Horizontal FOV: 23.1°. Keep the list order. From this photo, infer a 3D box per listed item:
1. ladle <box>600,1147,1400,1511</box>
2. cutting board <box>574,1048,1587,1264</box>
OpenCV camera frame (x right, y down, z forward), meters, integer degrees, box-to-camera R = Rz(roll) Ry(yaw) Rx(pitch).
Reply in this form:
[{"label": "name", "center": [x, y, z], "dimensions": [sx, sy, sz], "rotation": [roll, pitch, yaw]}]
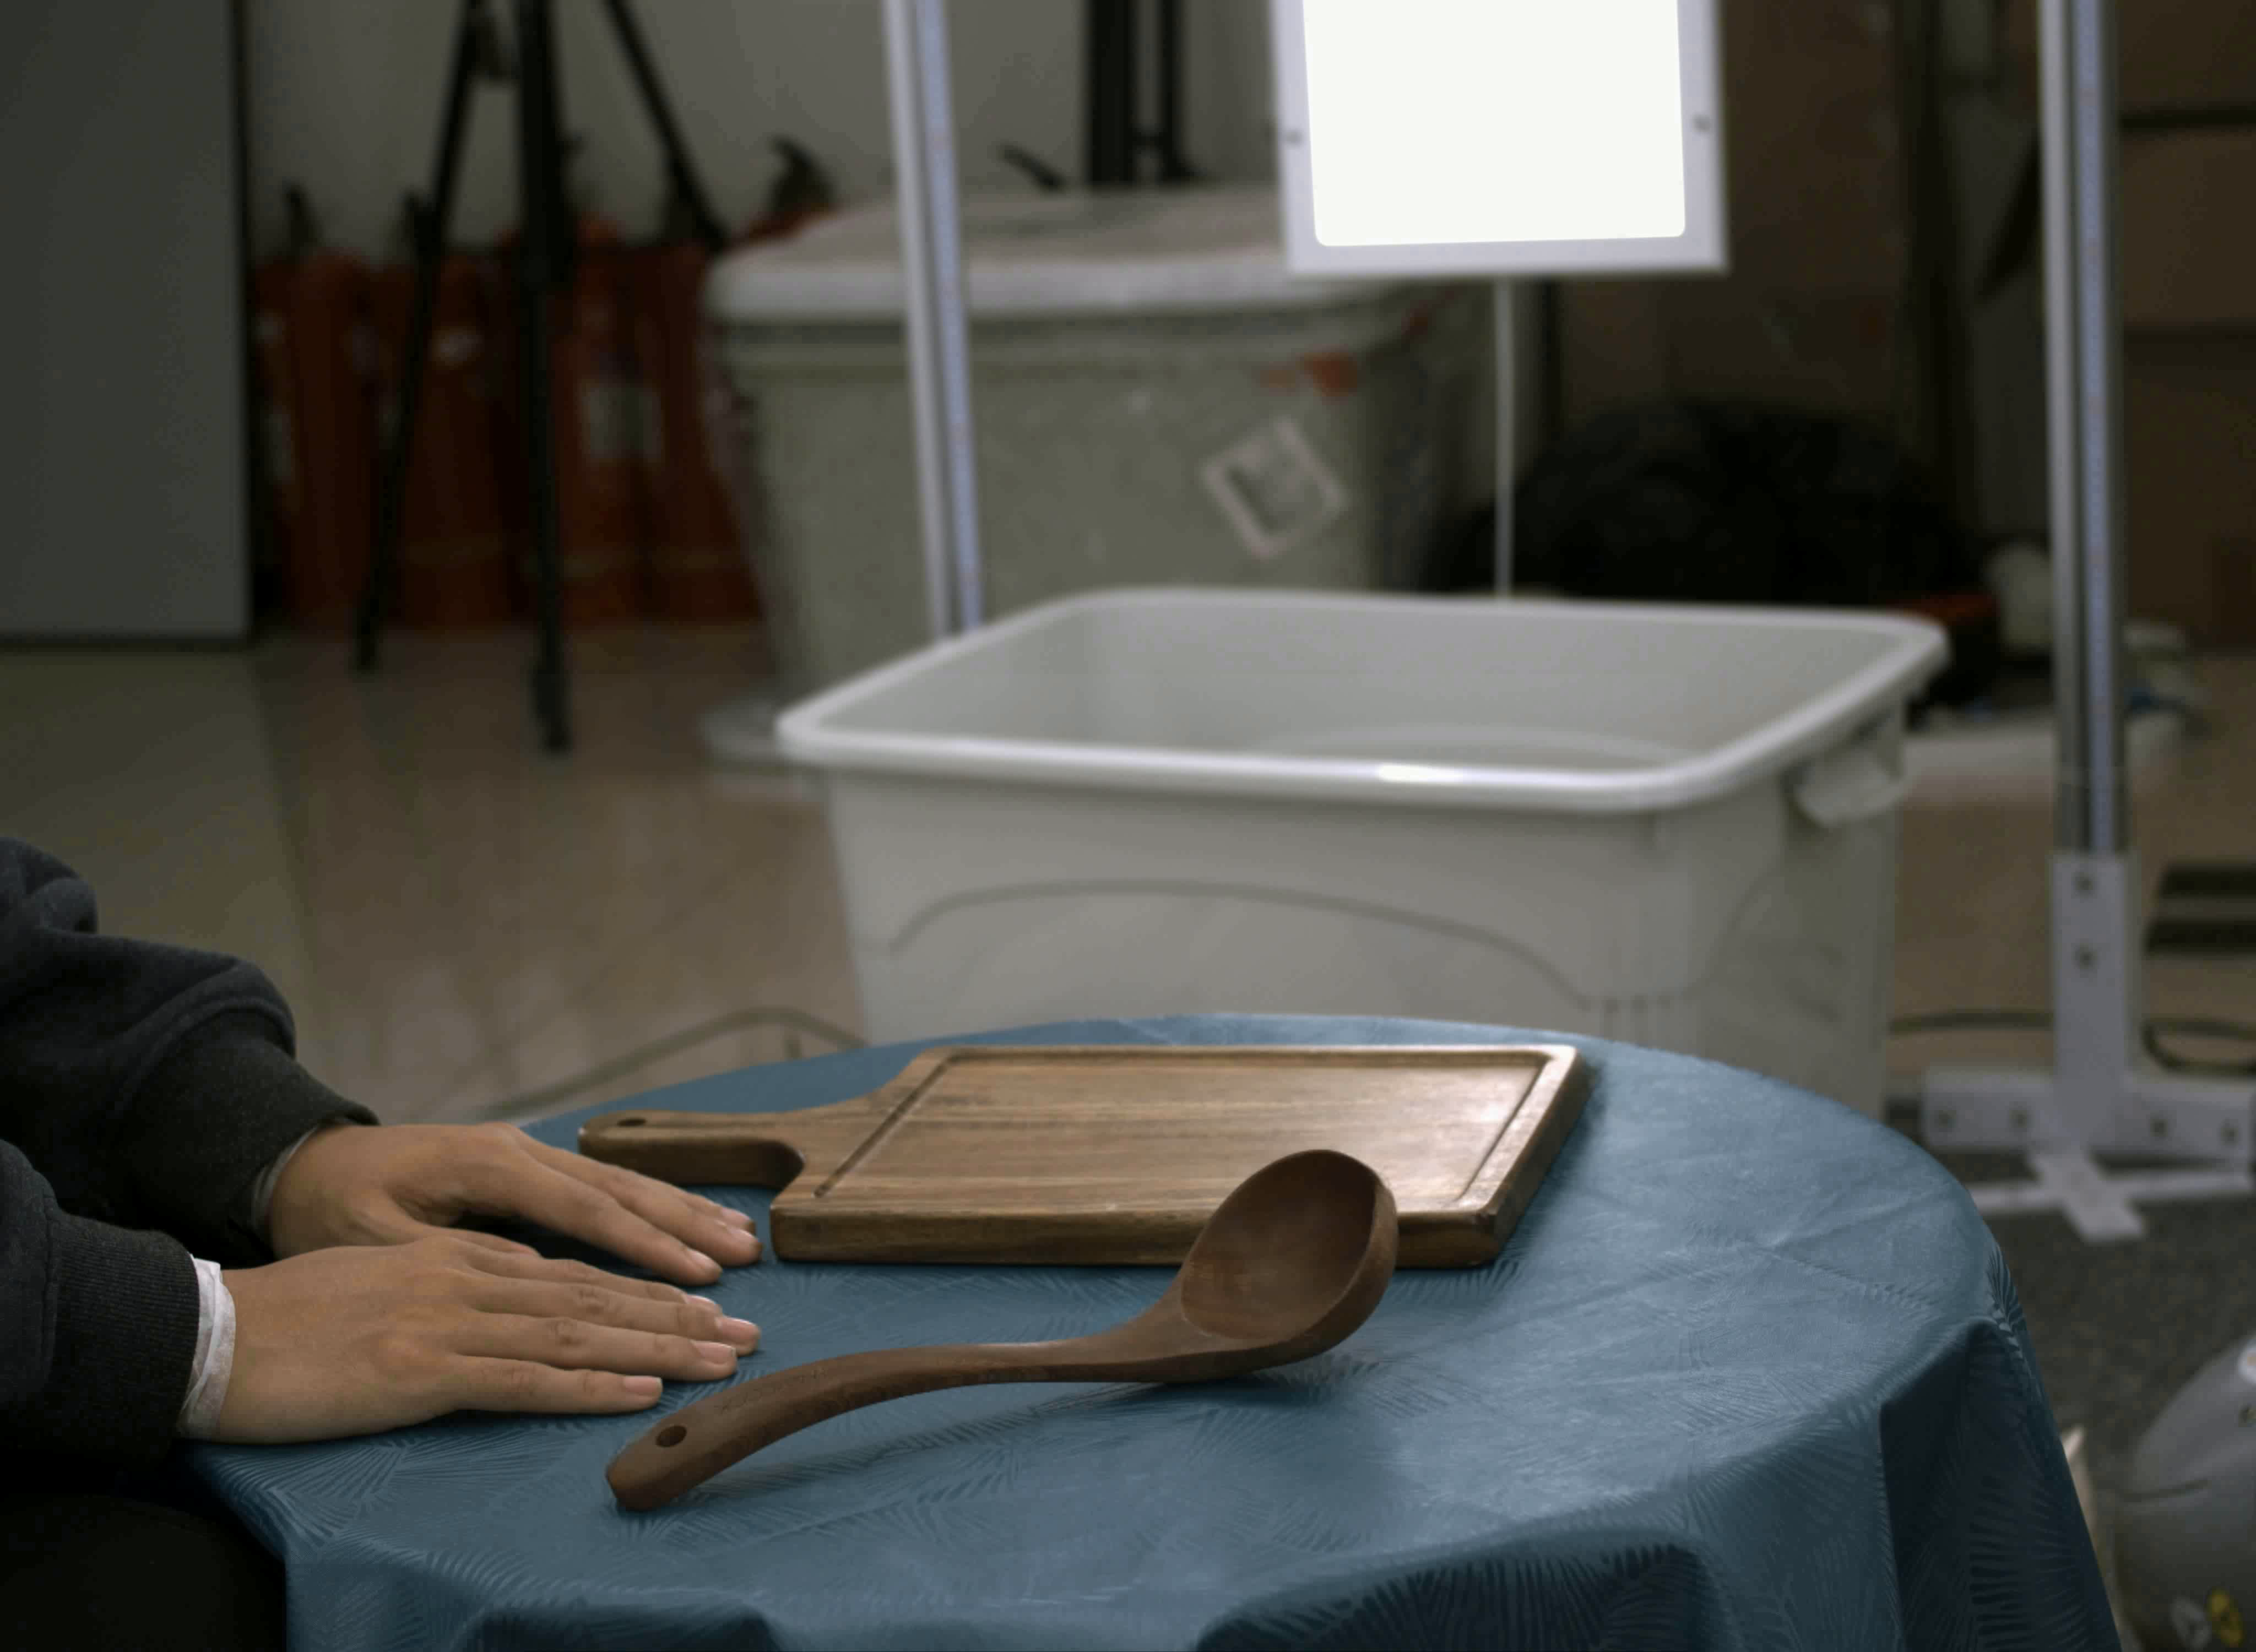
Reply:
[{"label": "ladle", "center": [-0.038, 0.152, 1.673], "dimensions": [0.255, 0.065, 0.077], "rotation": [-10, 22, -20]}, {"label": "cutting board", "center": [-0.025, 0.112, 1.918], "dimensions": [0.356, 0.023, 0.198], "rotation": [-1, 13, 17]}]
